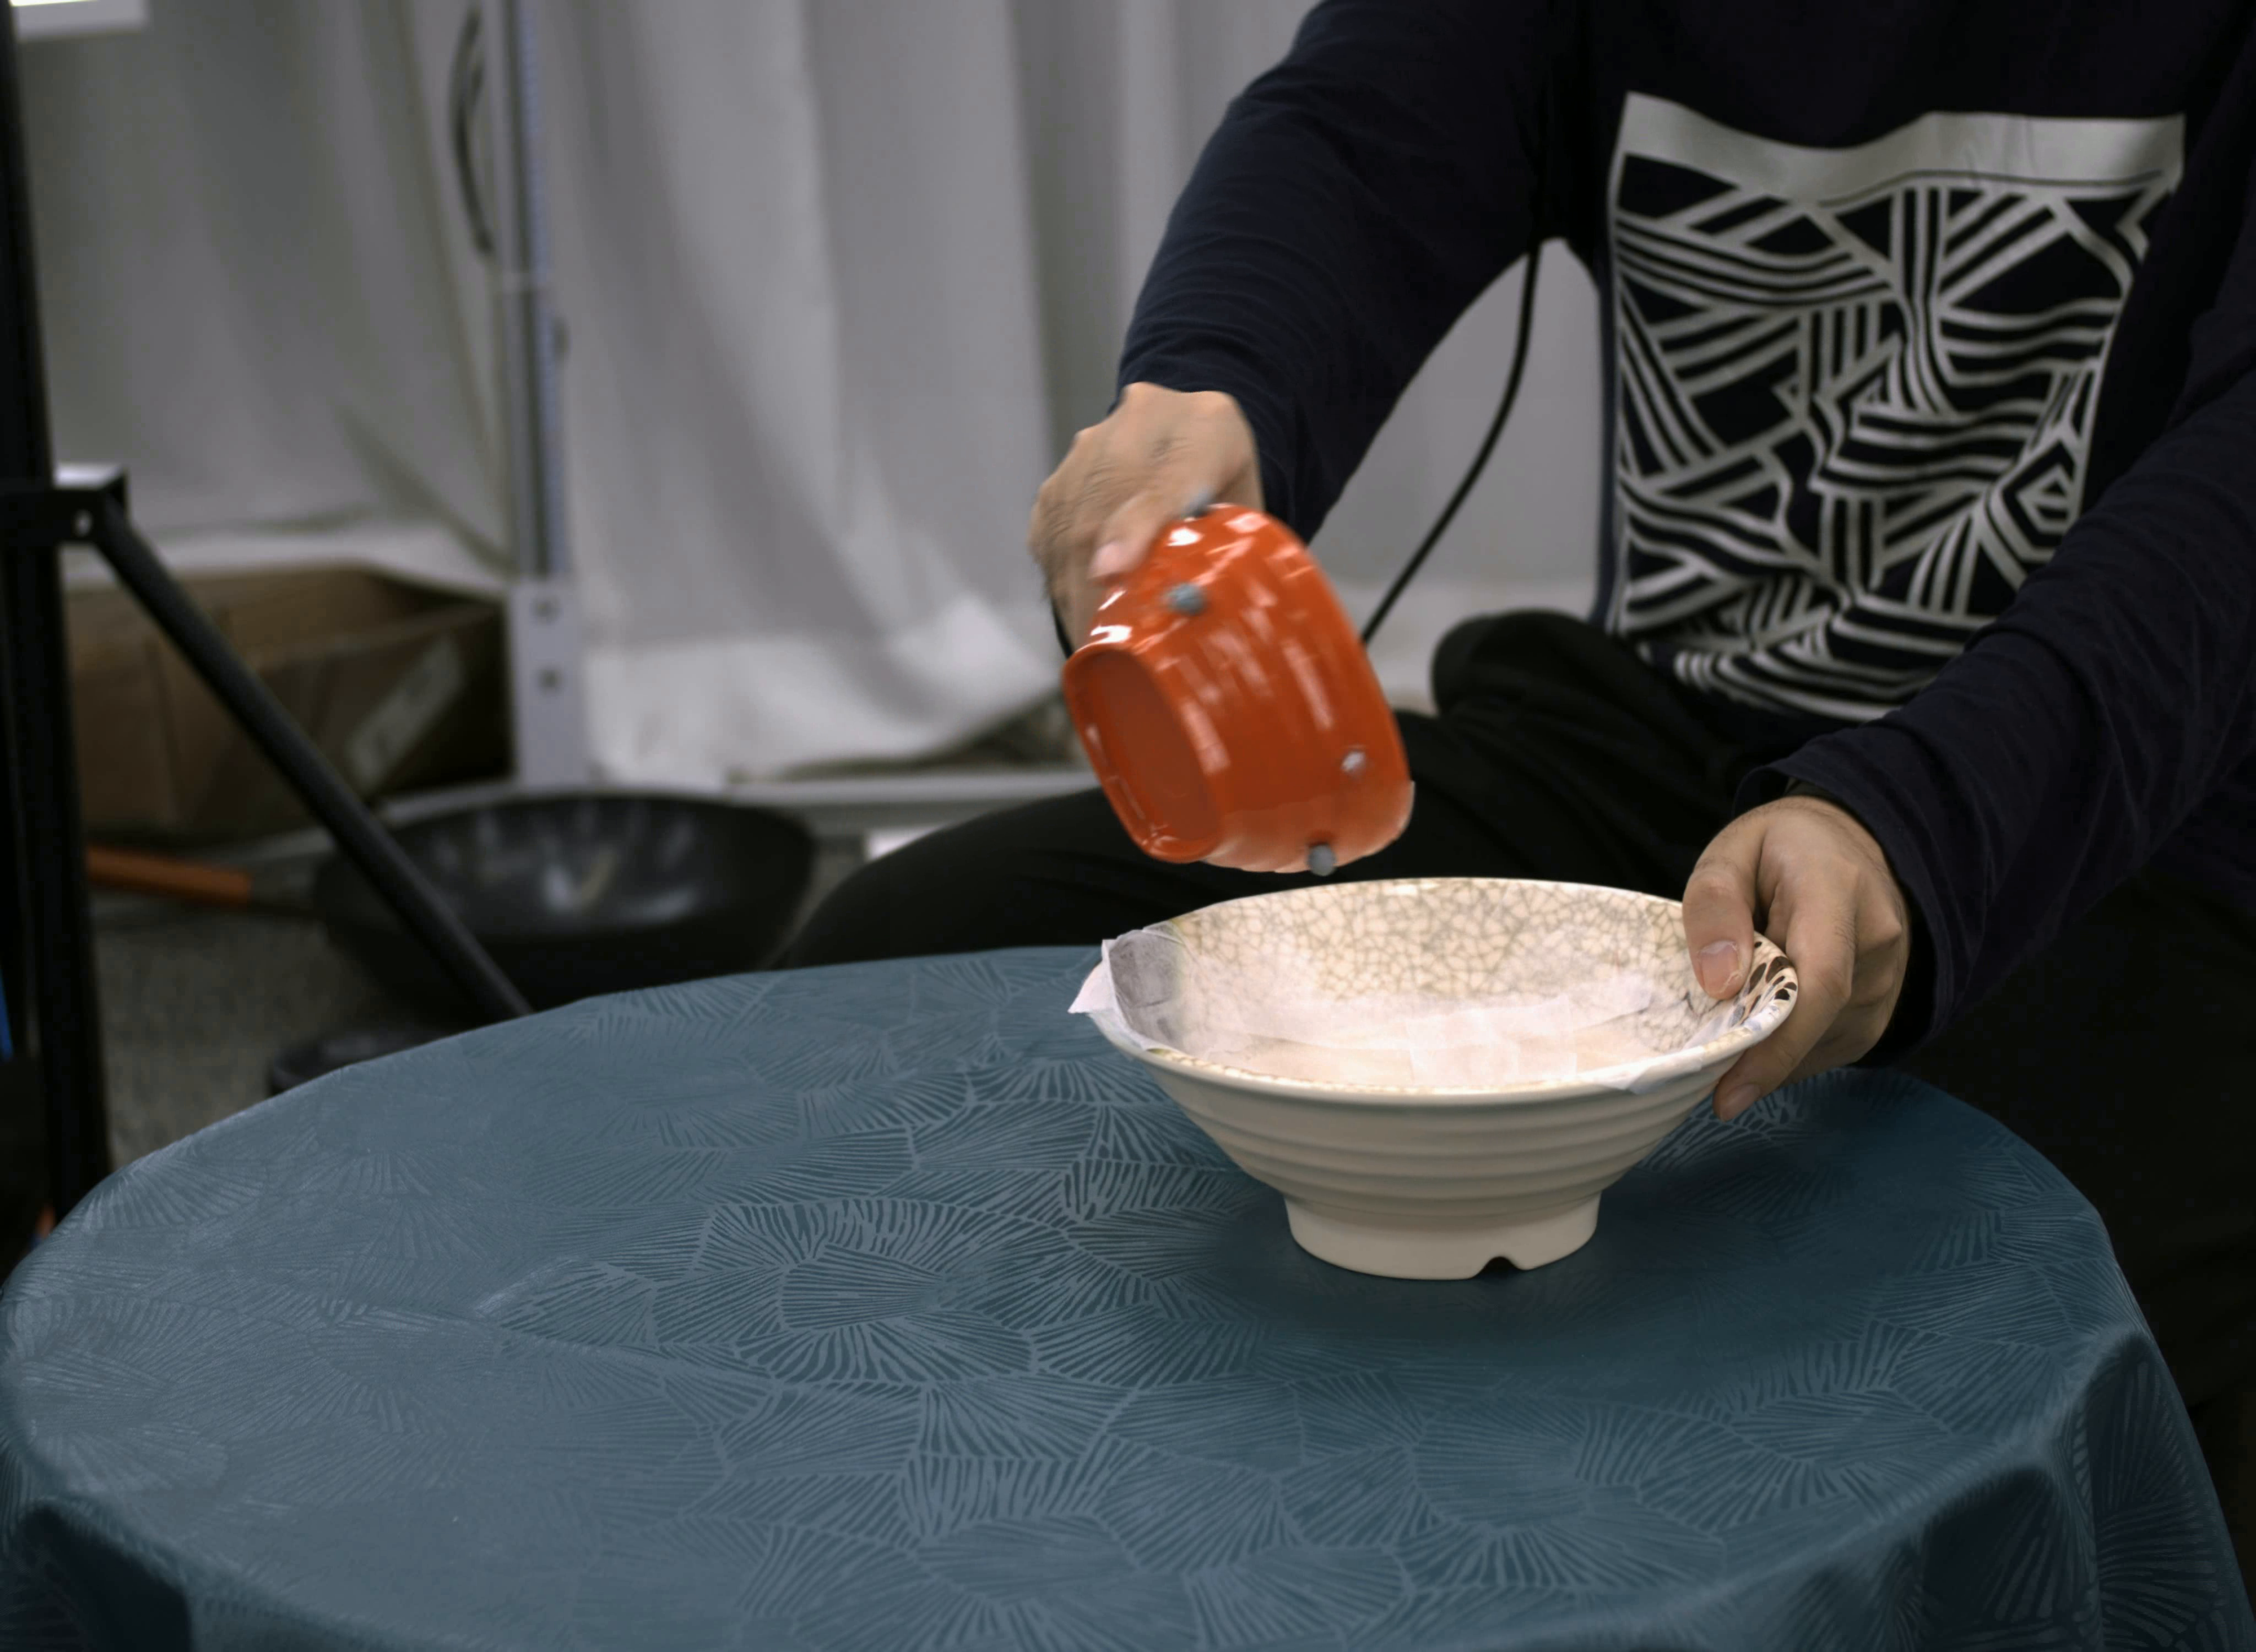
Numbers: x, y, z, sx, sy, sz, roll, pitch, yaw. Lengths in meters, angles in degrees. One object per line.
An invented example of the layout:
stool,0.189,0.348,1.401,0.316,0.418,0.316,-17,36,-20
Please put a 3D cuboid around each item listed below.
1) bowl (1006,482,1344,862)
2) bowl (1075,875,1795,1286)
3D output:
bowl,0.007,-0.035,1.491,0.050,0.118,0.121,-23,23,-24
bowl,0.087,0.080,1.510,0.203,0.078,0.205,-2,16,-1
